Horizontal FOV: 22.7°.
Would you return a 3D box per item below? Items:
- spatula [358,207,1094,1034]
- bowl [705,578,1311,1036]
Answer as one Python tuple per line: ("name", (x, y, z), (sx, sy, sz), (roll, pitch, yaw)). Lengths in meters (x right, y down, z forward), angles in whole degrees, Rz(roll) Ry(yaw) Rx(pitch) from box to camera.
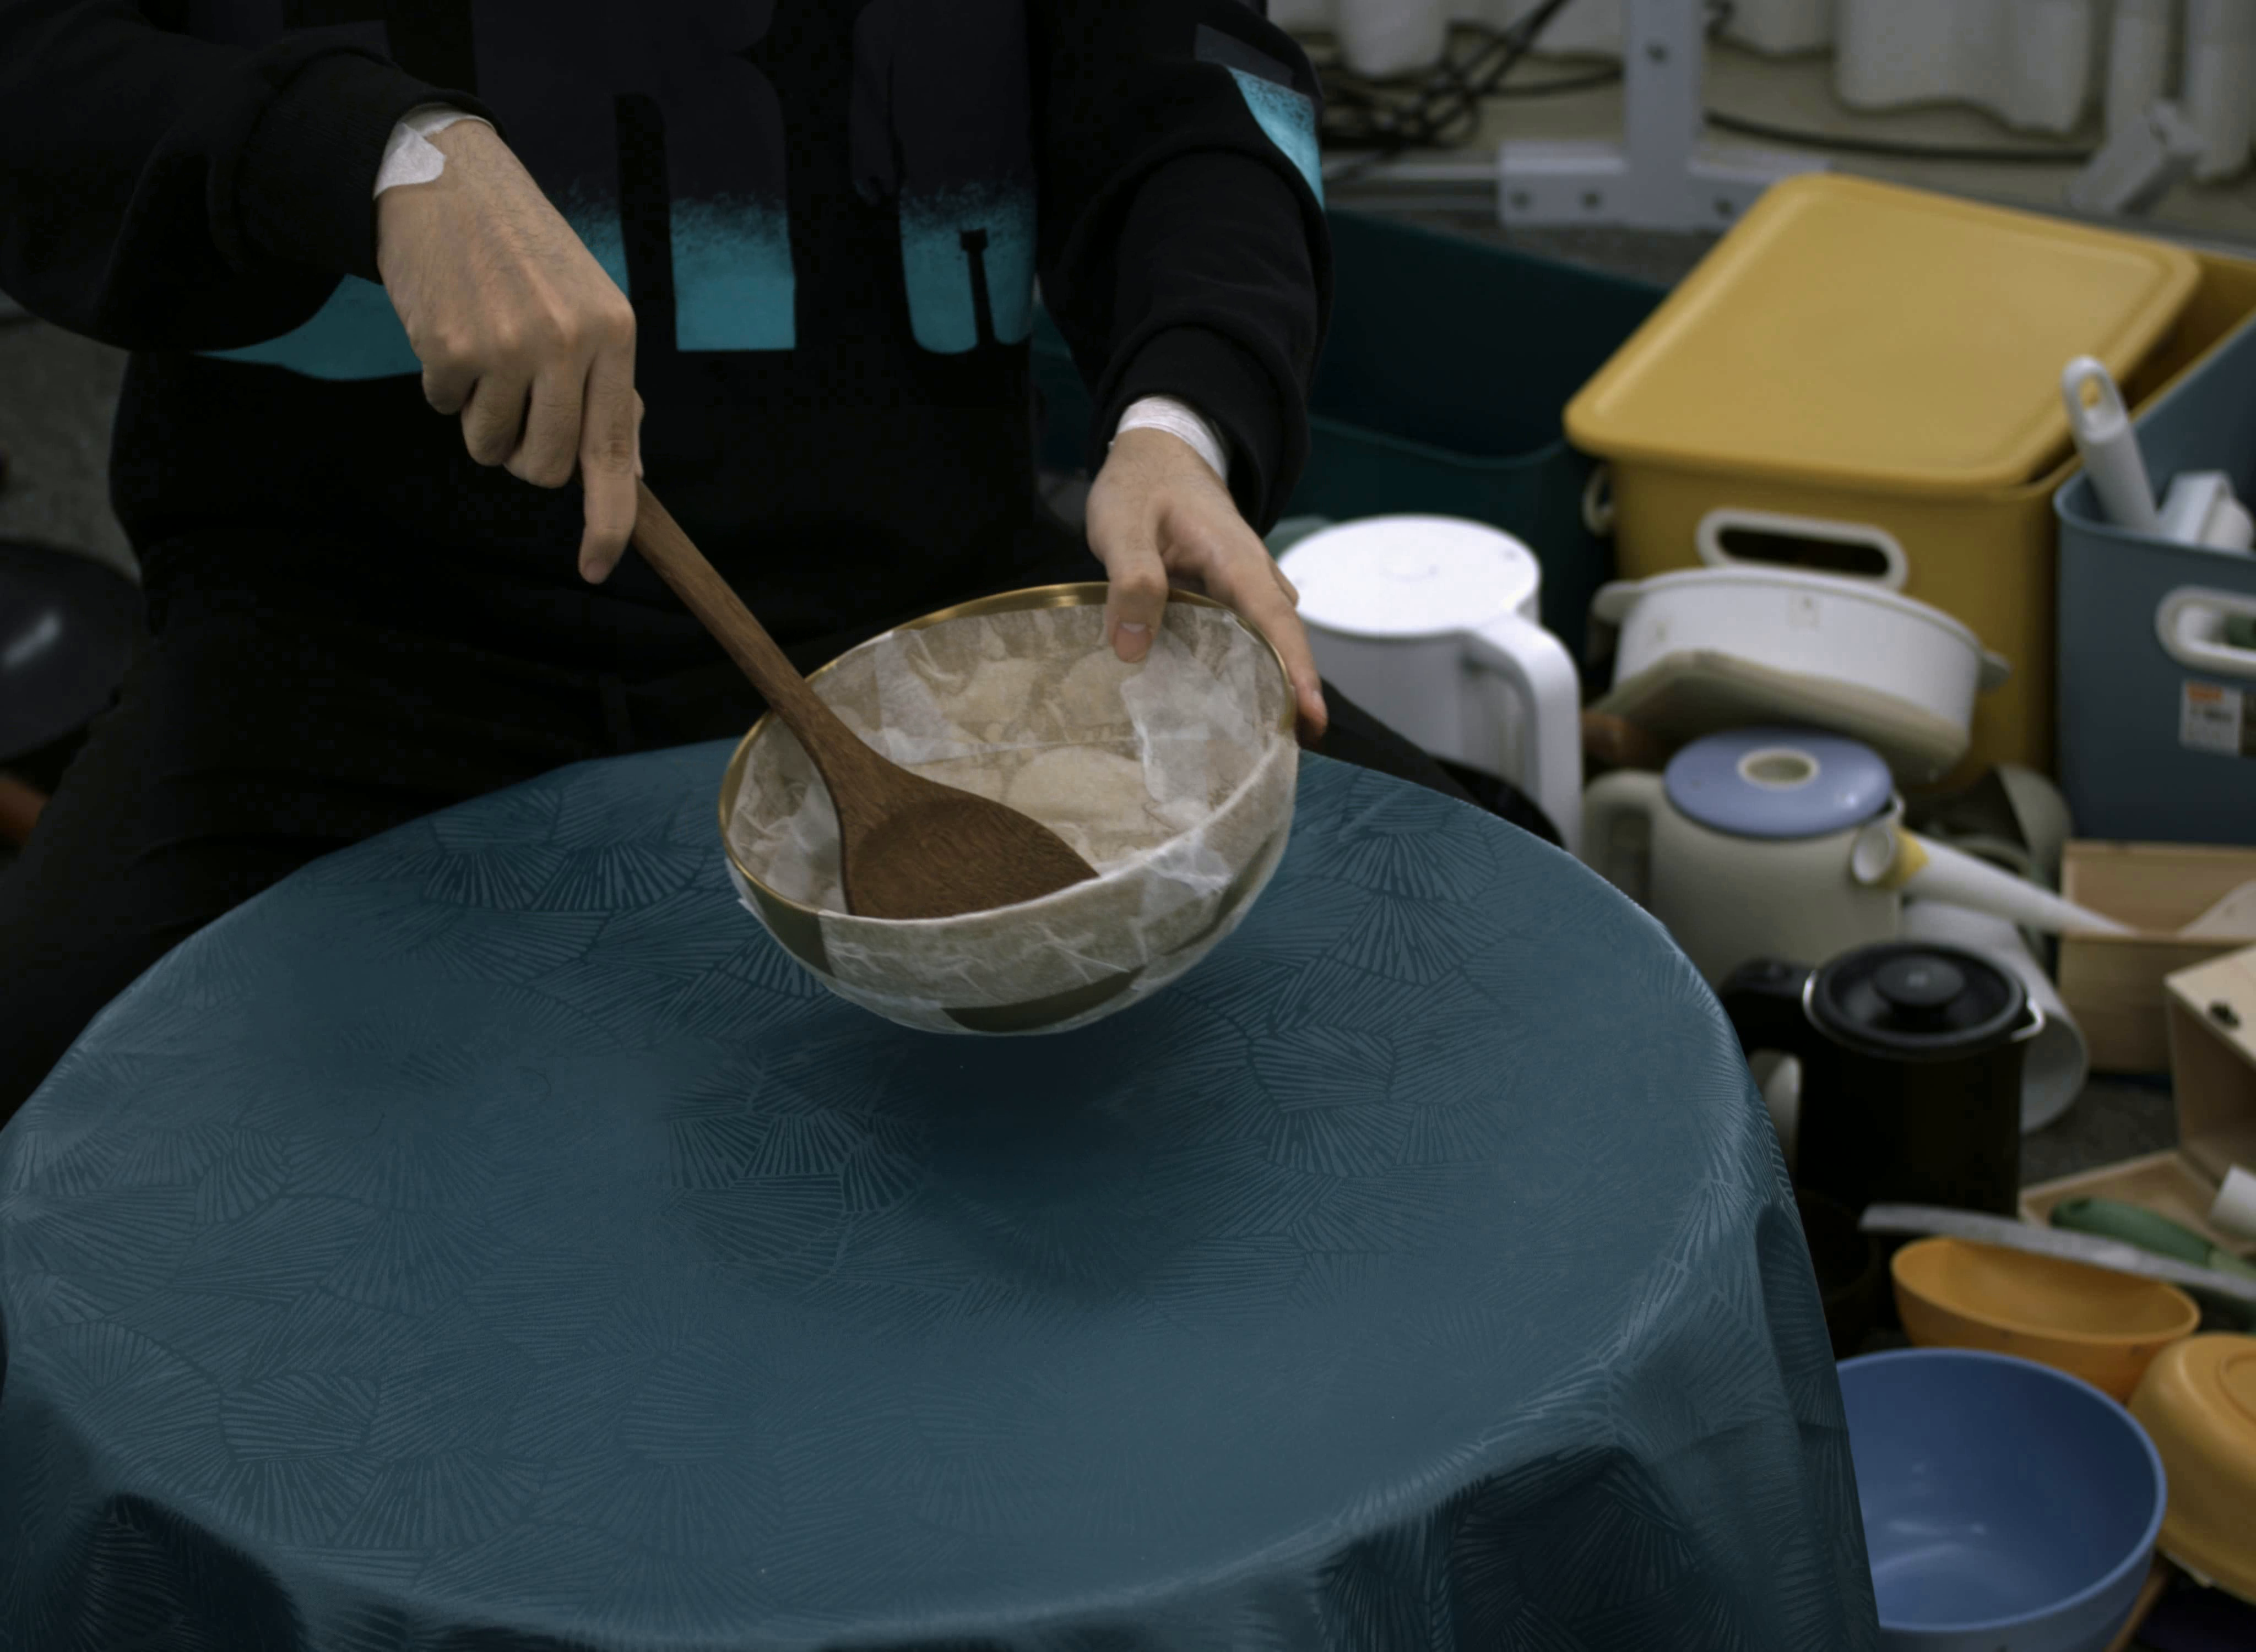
("spatula", (-0.143, -0.078, 1.945), (0.097, 0.015, 0.388), (-30, 72, -40))
("bowl", (-0.031, 0.006, 1.906), (0.213, 0.093, 0.218), (-13, 30, 8))
